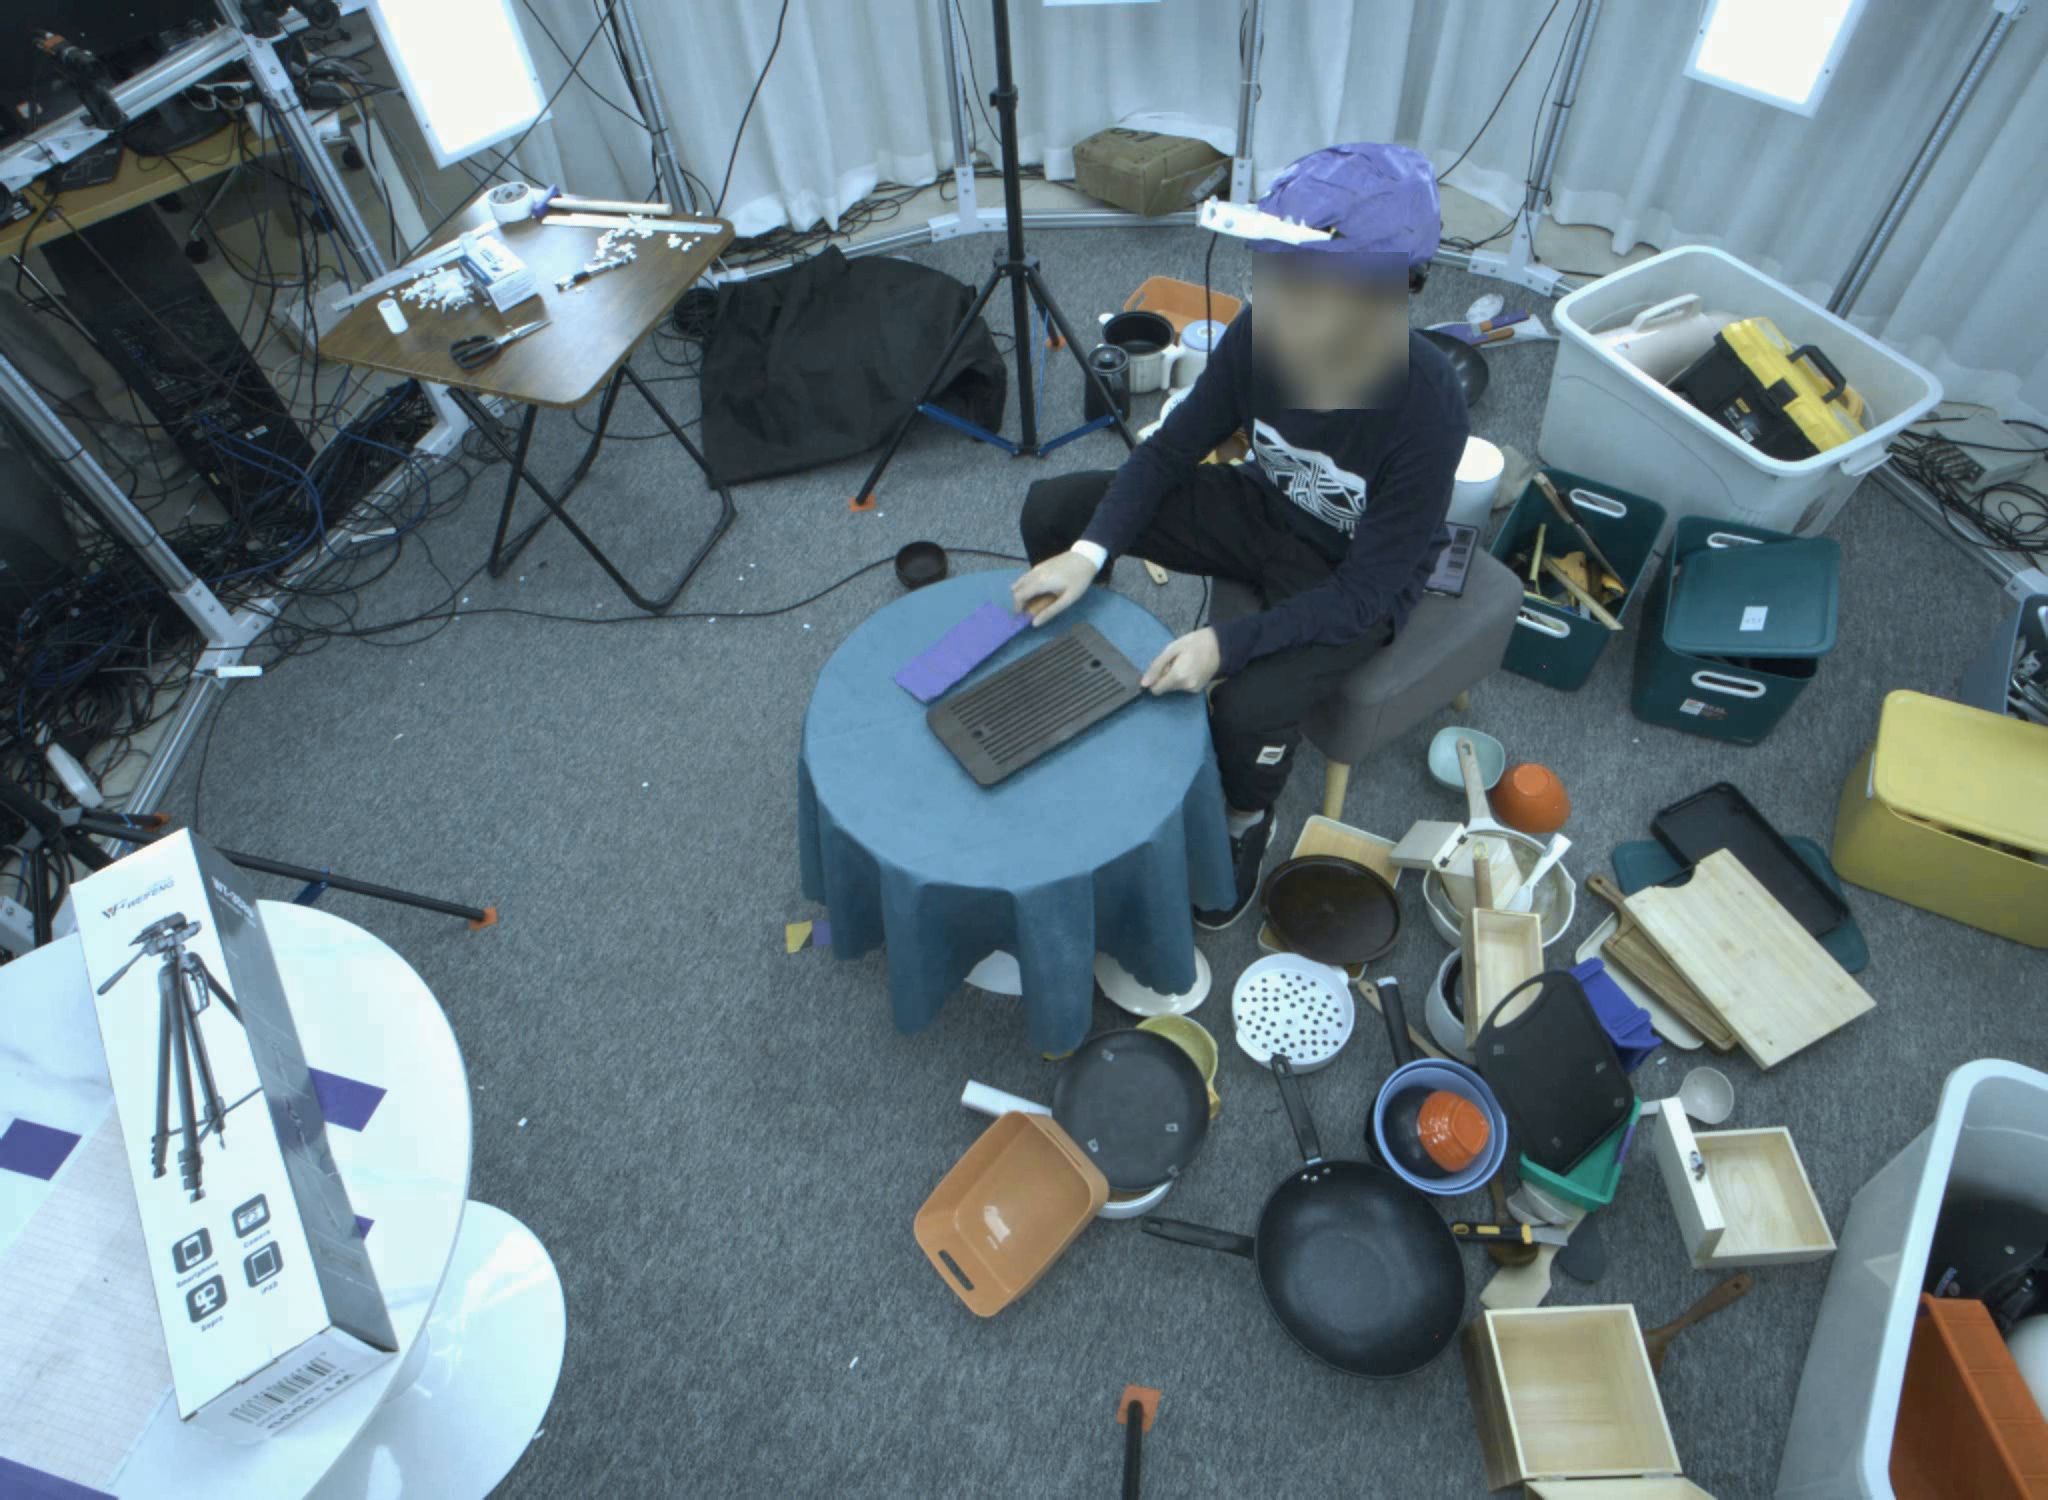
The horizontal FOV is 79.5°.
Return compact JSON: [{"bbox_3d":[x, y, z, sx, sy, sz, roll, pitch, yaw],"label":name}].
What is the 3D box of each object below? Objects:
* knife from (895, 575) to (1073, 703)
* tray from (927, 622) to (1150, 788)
[{"bbox_3d":[-0.064,-0.188,1.905,0.317,0.032,0.101,-39,54,-22],"label":"knife"},{"bbox_3d":[0.022,-0.070,1.829,0.308,0.019,0.167,-31,58,-19],"label":"tray"}]
